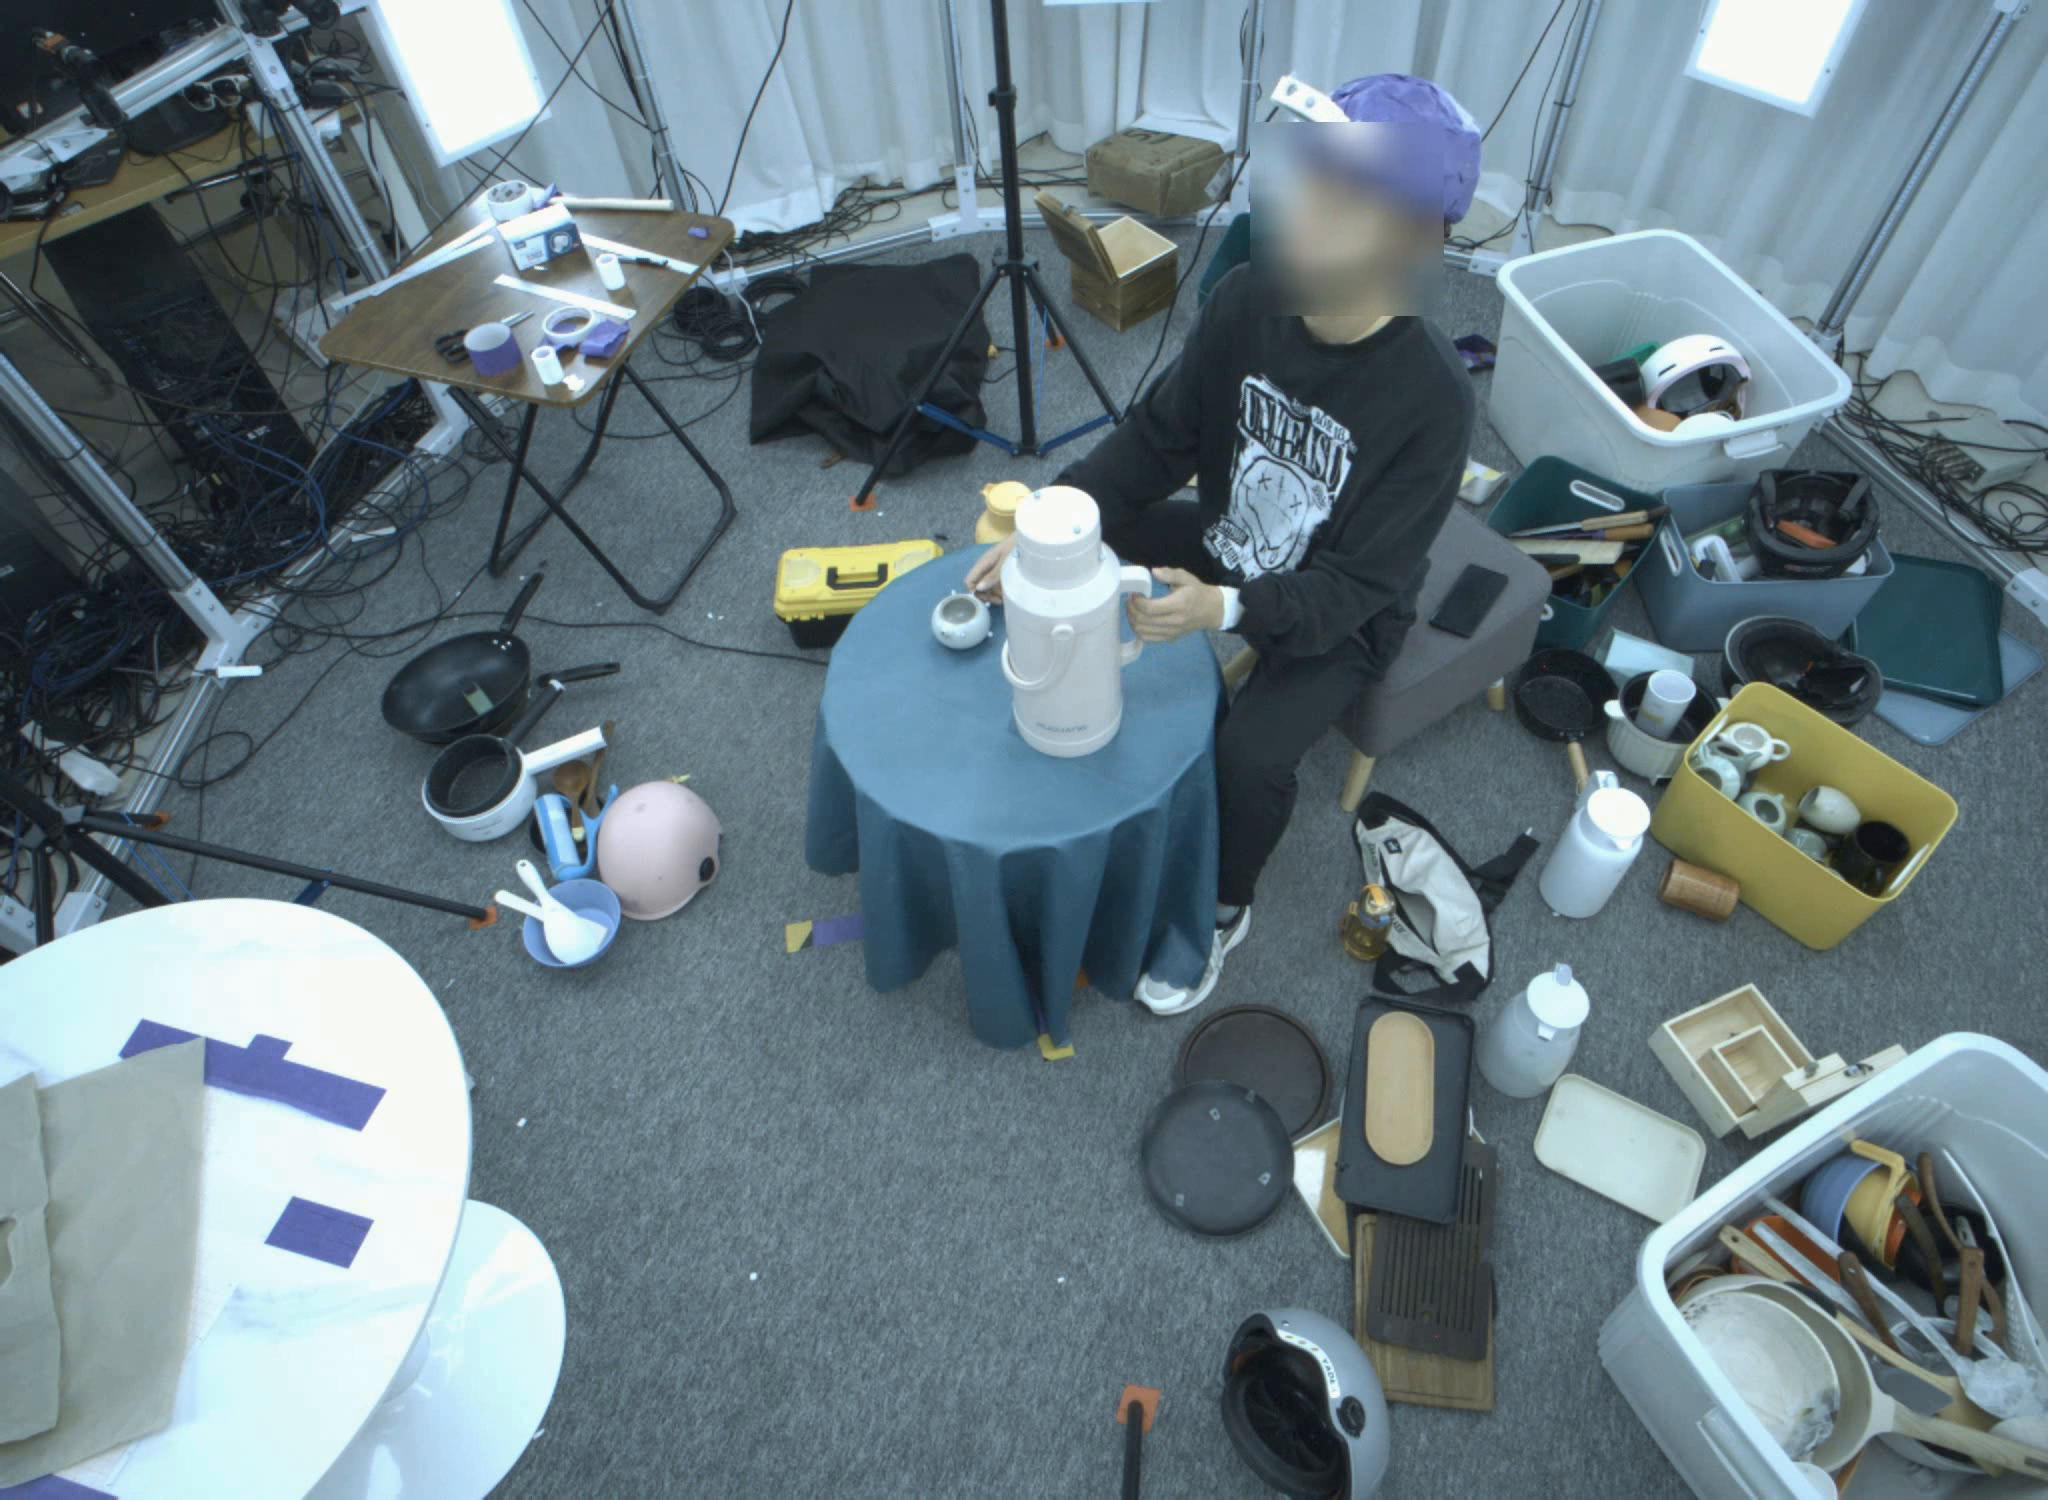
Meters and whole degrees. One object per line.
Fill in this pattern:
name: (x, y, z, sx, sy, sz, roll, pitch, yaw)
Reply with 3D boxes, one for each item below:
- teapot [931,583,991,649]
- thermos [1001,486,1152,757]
teapot: (-0.094, -0.206, 1.897, 0.090, 0.060, 0.128, 18, 59, 19)
thermos: (0.068, -0.169, 1.657, 0.207, 0.411, 0.173, -4, 53, 1)
